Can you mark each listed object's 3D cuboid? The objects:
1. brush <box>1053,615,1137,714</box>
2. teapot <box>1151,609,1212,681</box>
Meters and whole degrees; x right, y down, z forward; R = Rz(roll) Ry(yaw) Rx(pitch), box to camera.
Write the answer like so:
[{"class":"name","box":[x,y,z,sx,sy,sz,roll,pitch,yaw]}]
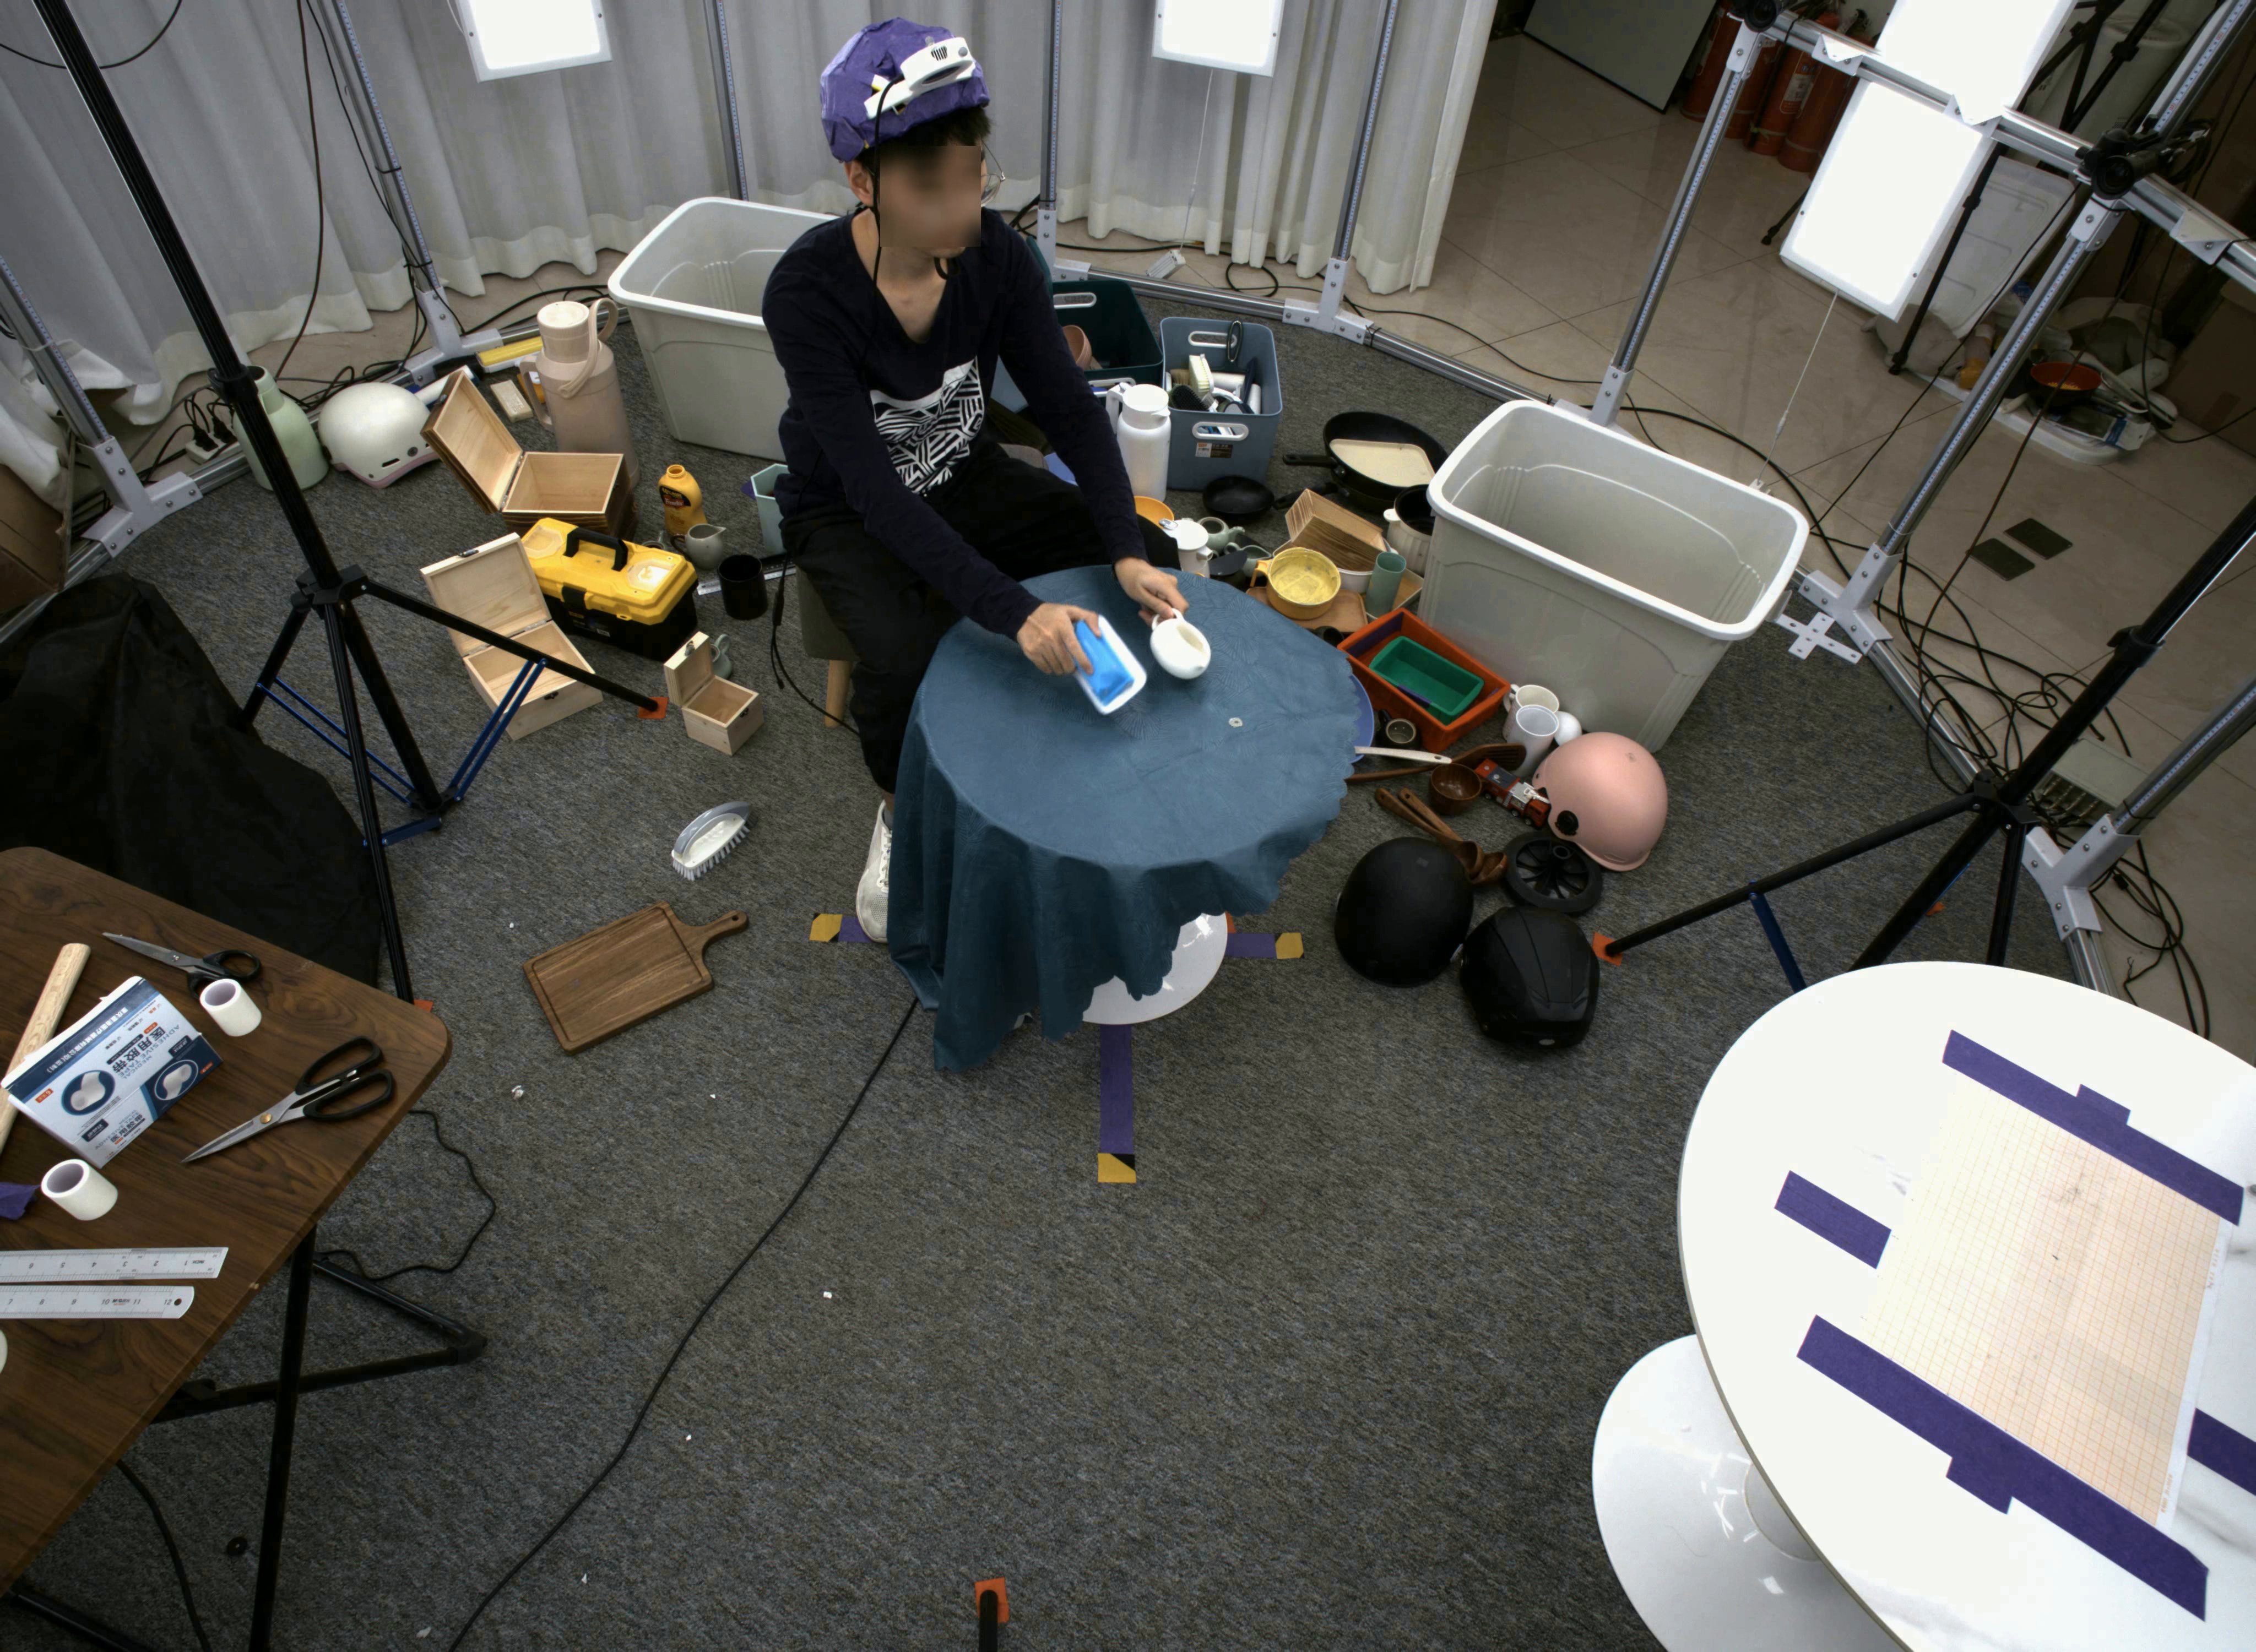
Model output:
[{"class":"brush","box":[-0.051,-0.229,1.771,0.083,0.055,0.147,-33,62,8]},{"class":"teapot","box":[0.072,-0.259,1.838,0.093,0.056,0.130,1,52,-44]}]
